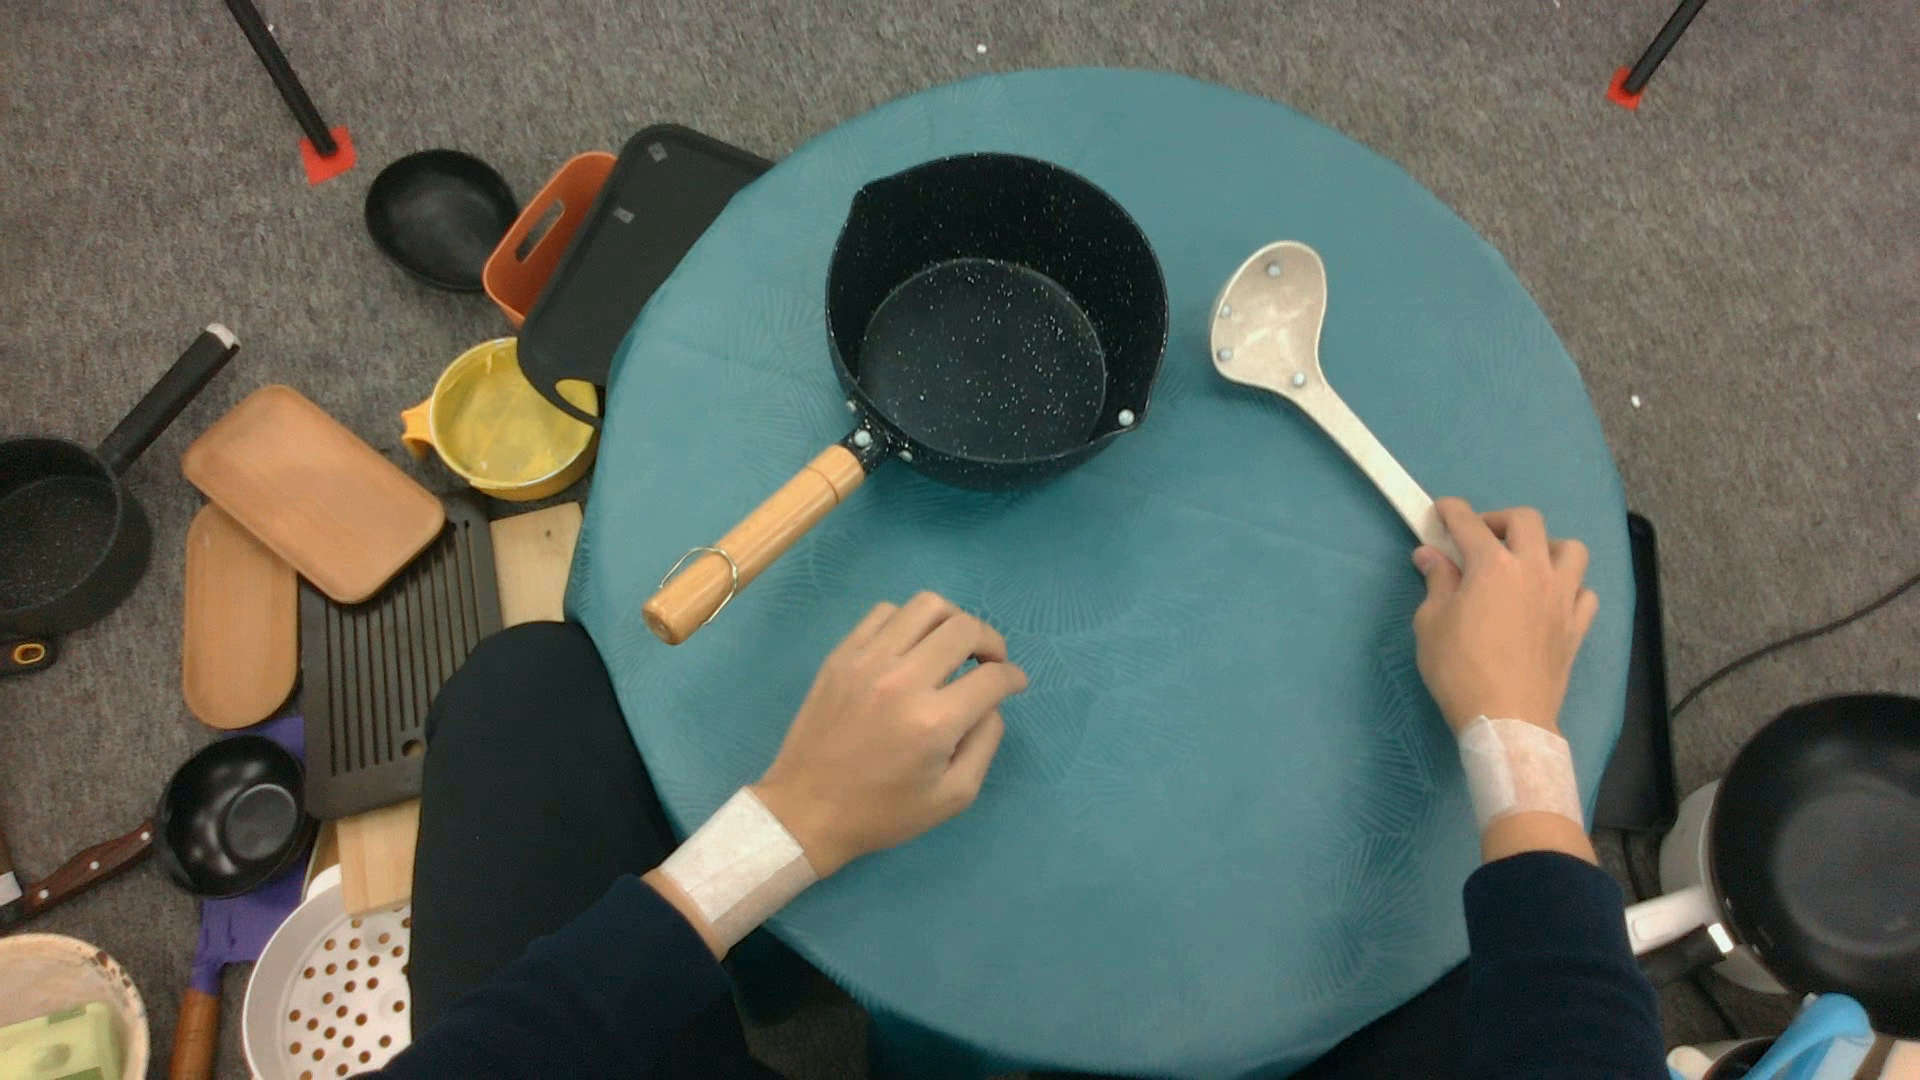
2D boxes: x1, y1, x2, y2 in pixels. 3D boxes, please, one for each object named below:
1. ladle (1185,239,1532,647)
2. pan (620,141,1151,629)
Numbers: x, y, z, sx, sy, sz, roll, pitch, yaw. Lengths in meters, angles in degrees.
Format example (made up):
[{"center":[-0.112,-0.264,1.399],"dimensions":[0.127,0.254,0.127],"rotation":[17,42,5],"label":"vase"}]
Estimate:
[{"center":[0.235,-0.051,0.775],"dimensions":[0.089,0.069,0.275],"rotation":[-39,80,-8],"label":"ladle"},{"center":[-0.043,-0.066,0.731],"dimensions":[0.207,0.108,0.344],"rotation":[40,70,7],"label":"pan"}]
